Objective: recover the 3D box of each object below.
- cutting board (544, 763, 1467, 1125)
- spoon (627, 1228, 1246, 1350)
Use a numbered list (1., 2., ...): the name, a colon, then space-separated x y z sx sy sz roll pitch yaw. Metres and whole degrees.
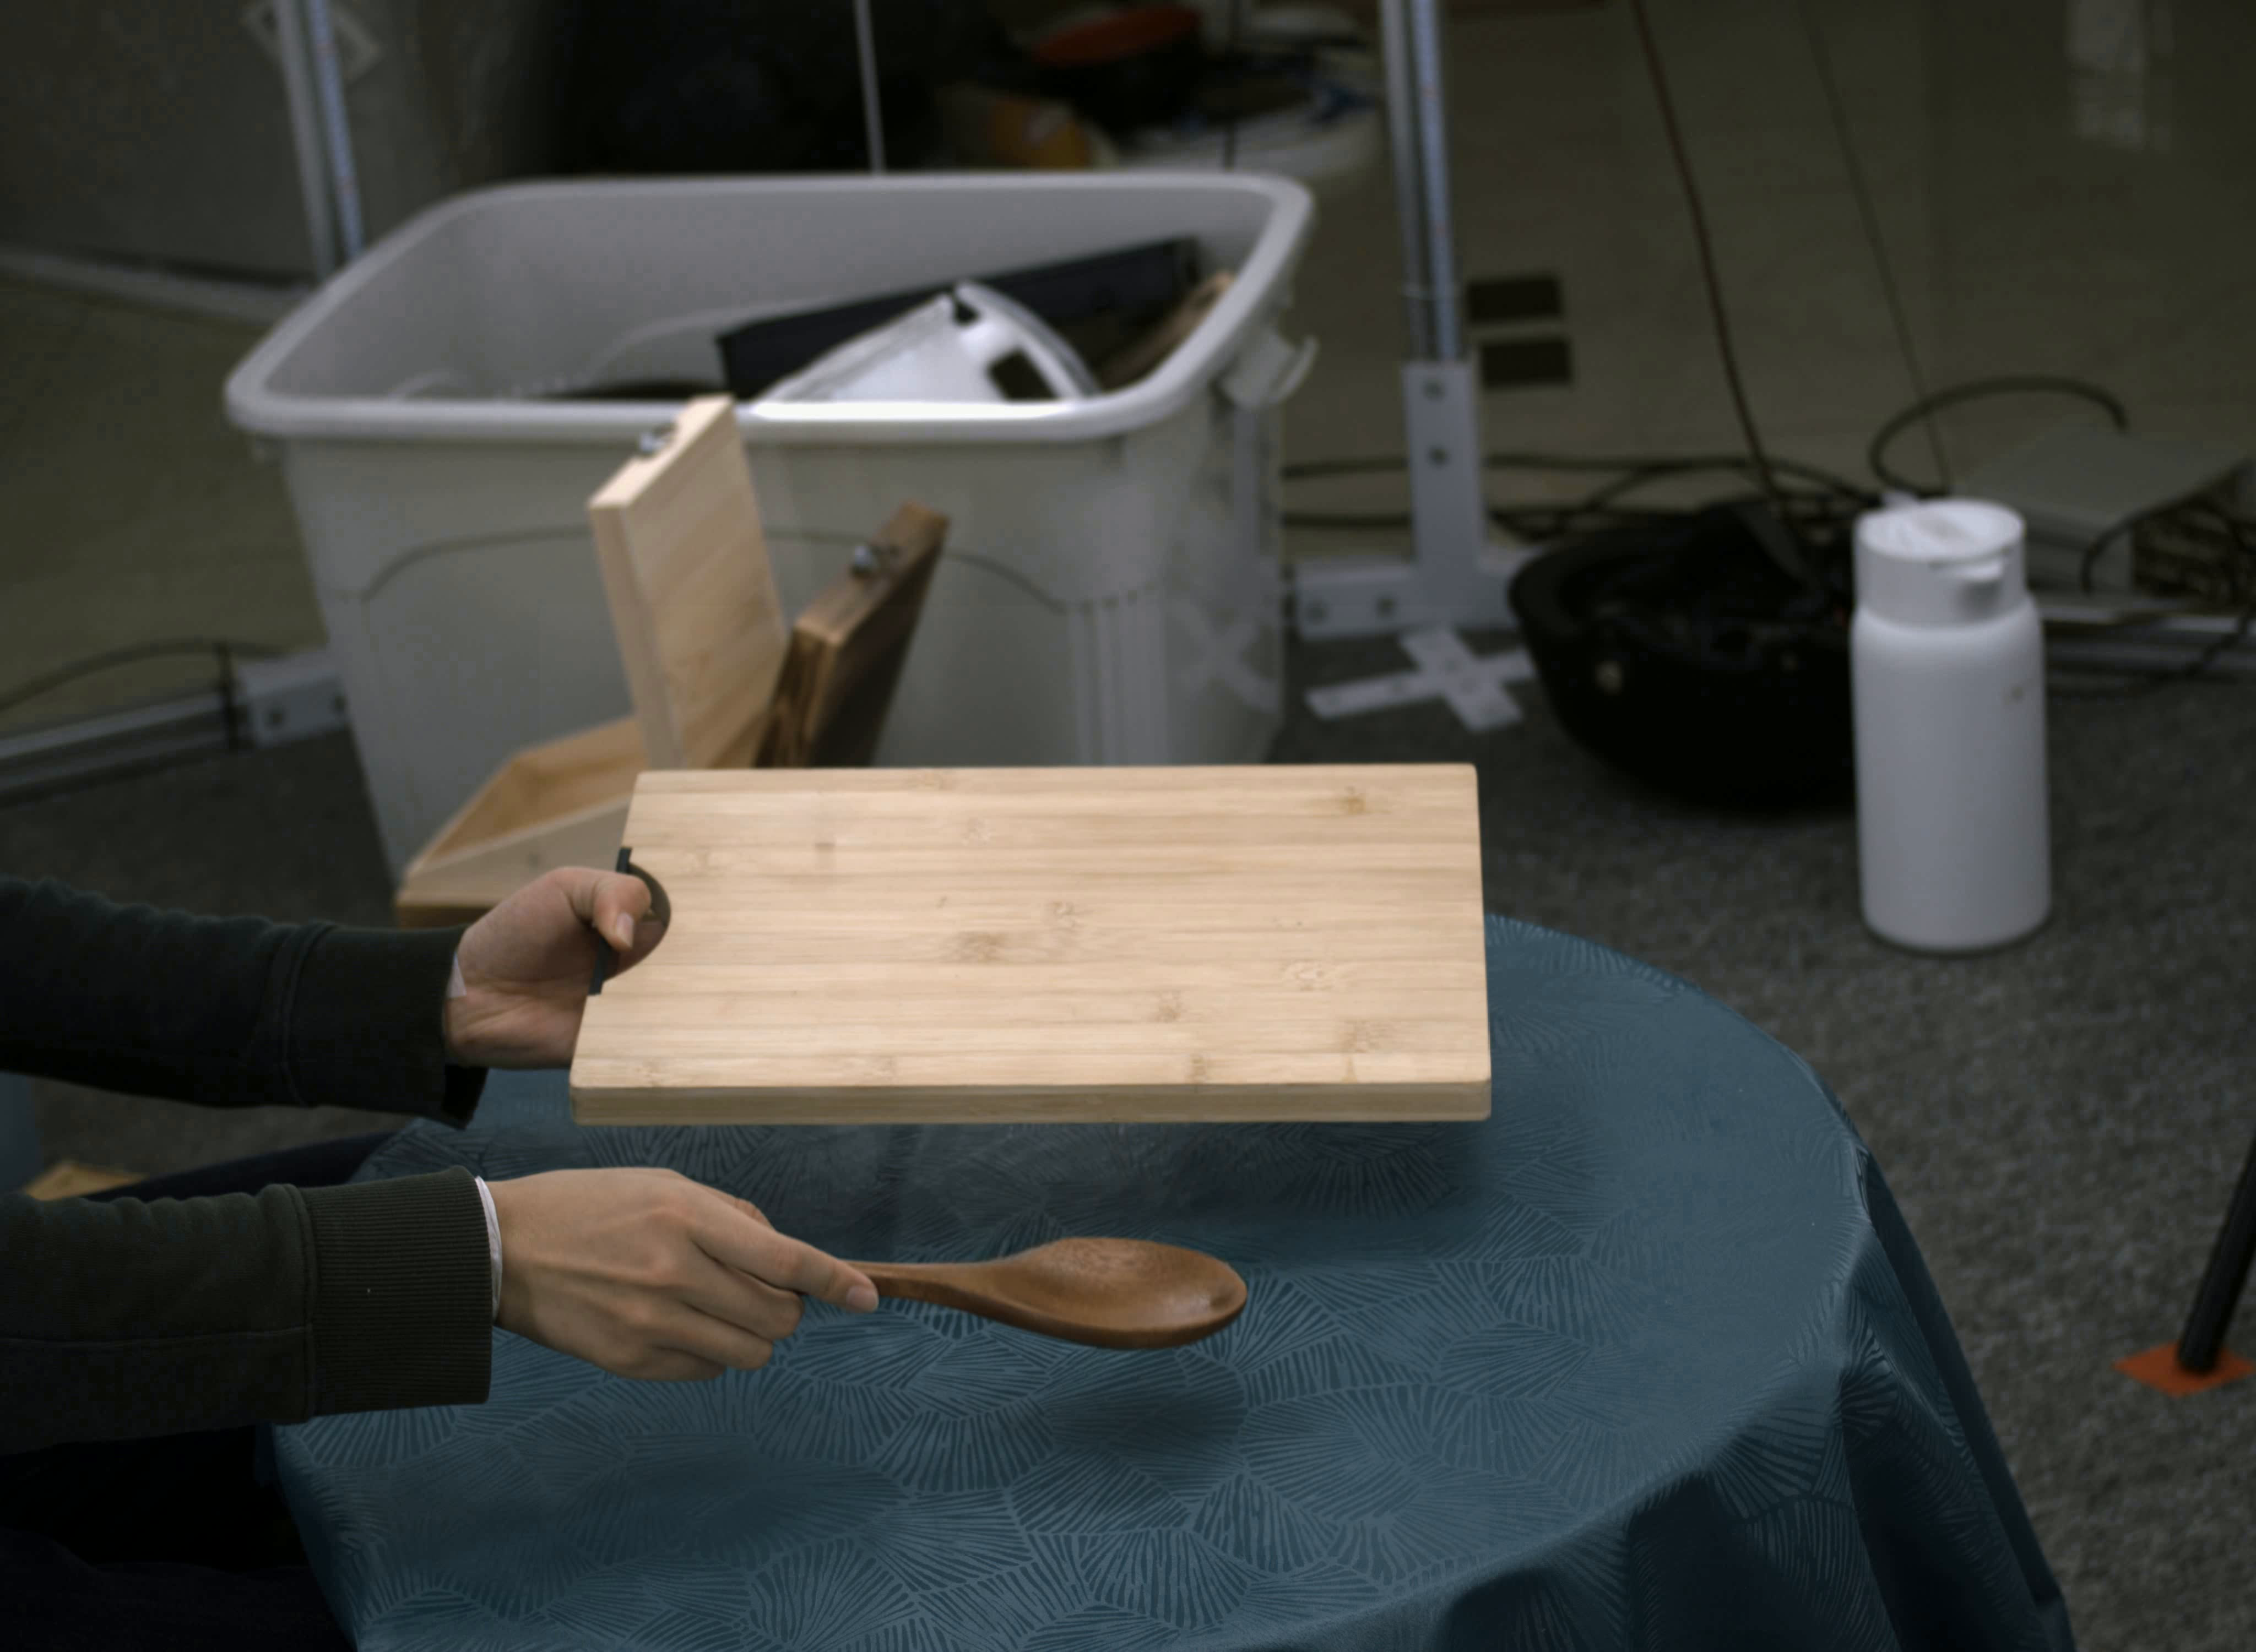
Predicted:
1. cutting board: -0.039 0.043 2.183 0.348 0.024 0.246 -1 30 2
2. spoon: -0.067 0.158 1.974 0.215 0.017 0.074 5 24 -3
